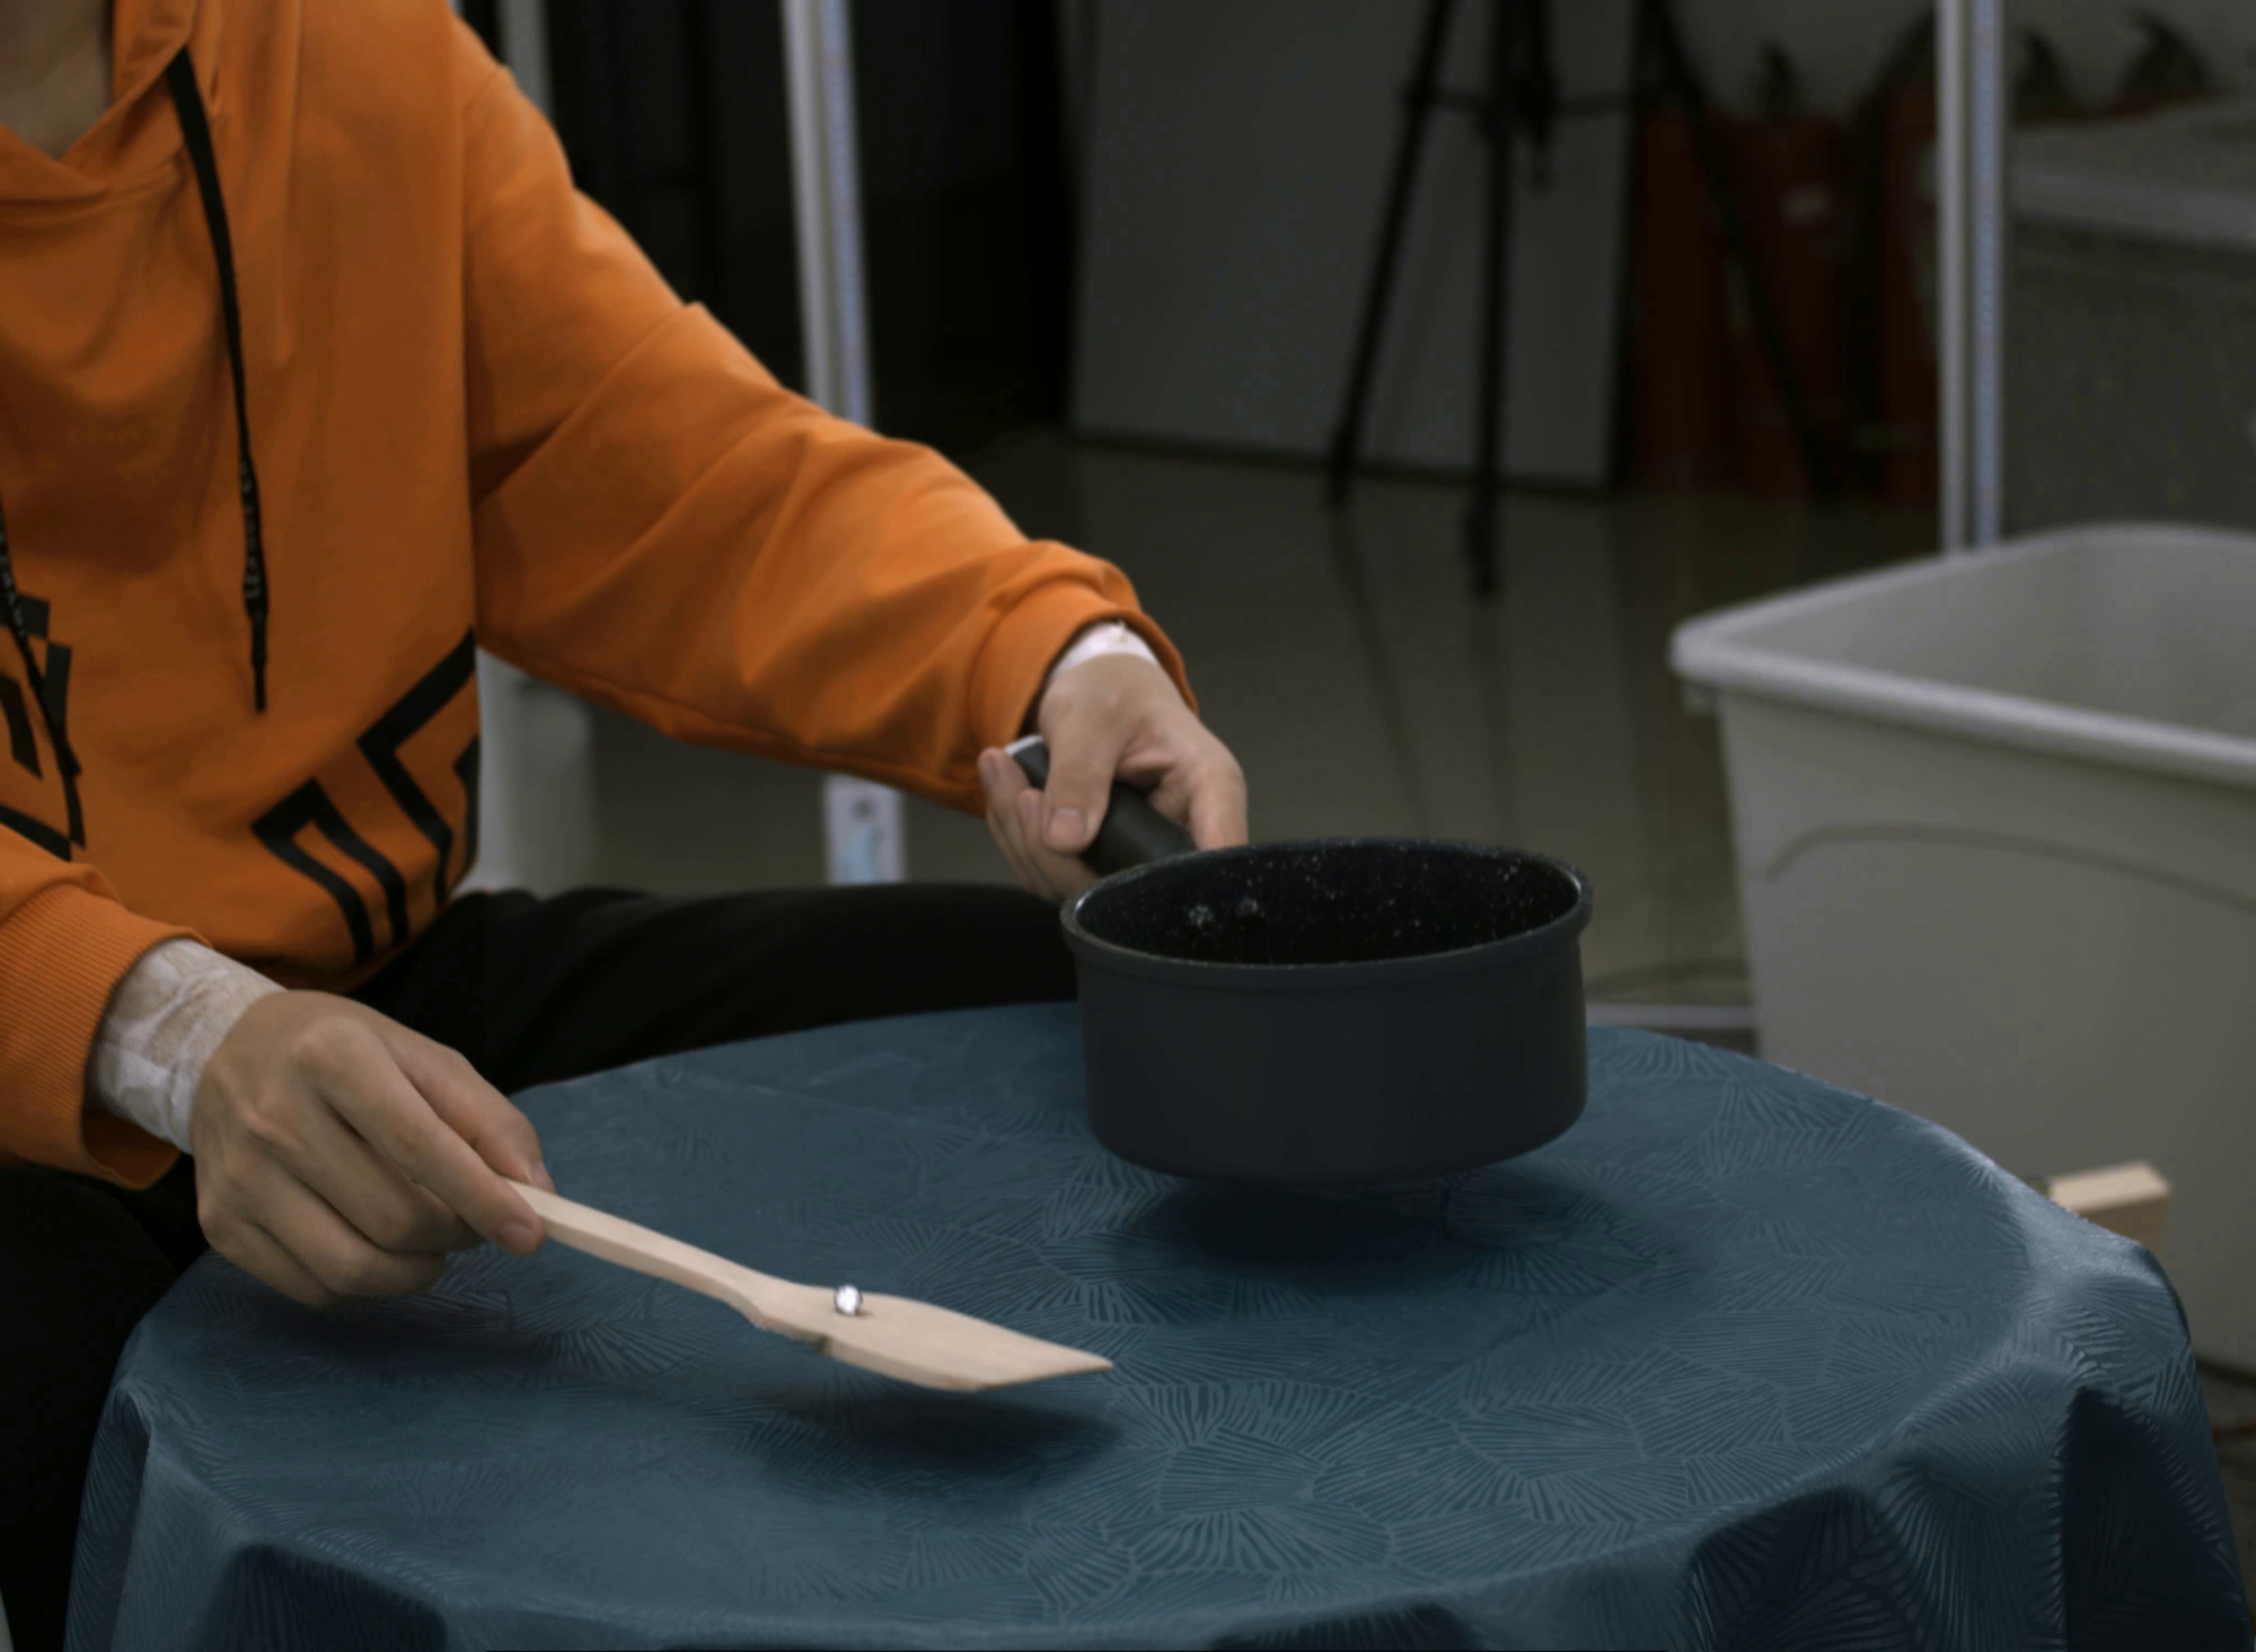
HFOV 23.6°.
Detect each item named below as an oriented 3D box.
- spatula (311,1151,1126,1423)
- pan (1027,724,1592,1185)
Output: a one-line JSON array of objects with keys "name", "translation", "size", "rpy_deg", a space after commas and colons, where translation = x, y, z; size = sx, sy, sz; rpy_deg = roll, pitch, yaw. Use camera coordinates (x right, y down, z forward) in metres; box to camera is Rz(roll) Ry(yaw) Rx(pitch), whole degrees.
[{"name": "spatula", "translation": [-0.135, 0.137, 1.620], "size": [0.295, 0.011, 0.071], "rpy_deg": [15, 11, 34]}, {"name": "pan", "translation": [0.036, 0.039, 1.792], "size": [0.168, 0.087, 0.332], "rpy_deg": [-8, 14, -19]}]
